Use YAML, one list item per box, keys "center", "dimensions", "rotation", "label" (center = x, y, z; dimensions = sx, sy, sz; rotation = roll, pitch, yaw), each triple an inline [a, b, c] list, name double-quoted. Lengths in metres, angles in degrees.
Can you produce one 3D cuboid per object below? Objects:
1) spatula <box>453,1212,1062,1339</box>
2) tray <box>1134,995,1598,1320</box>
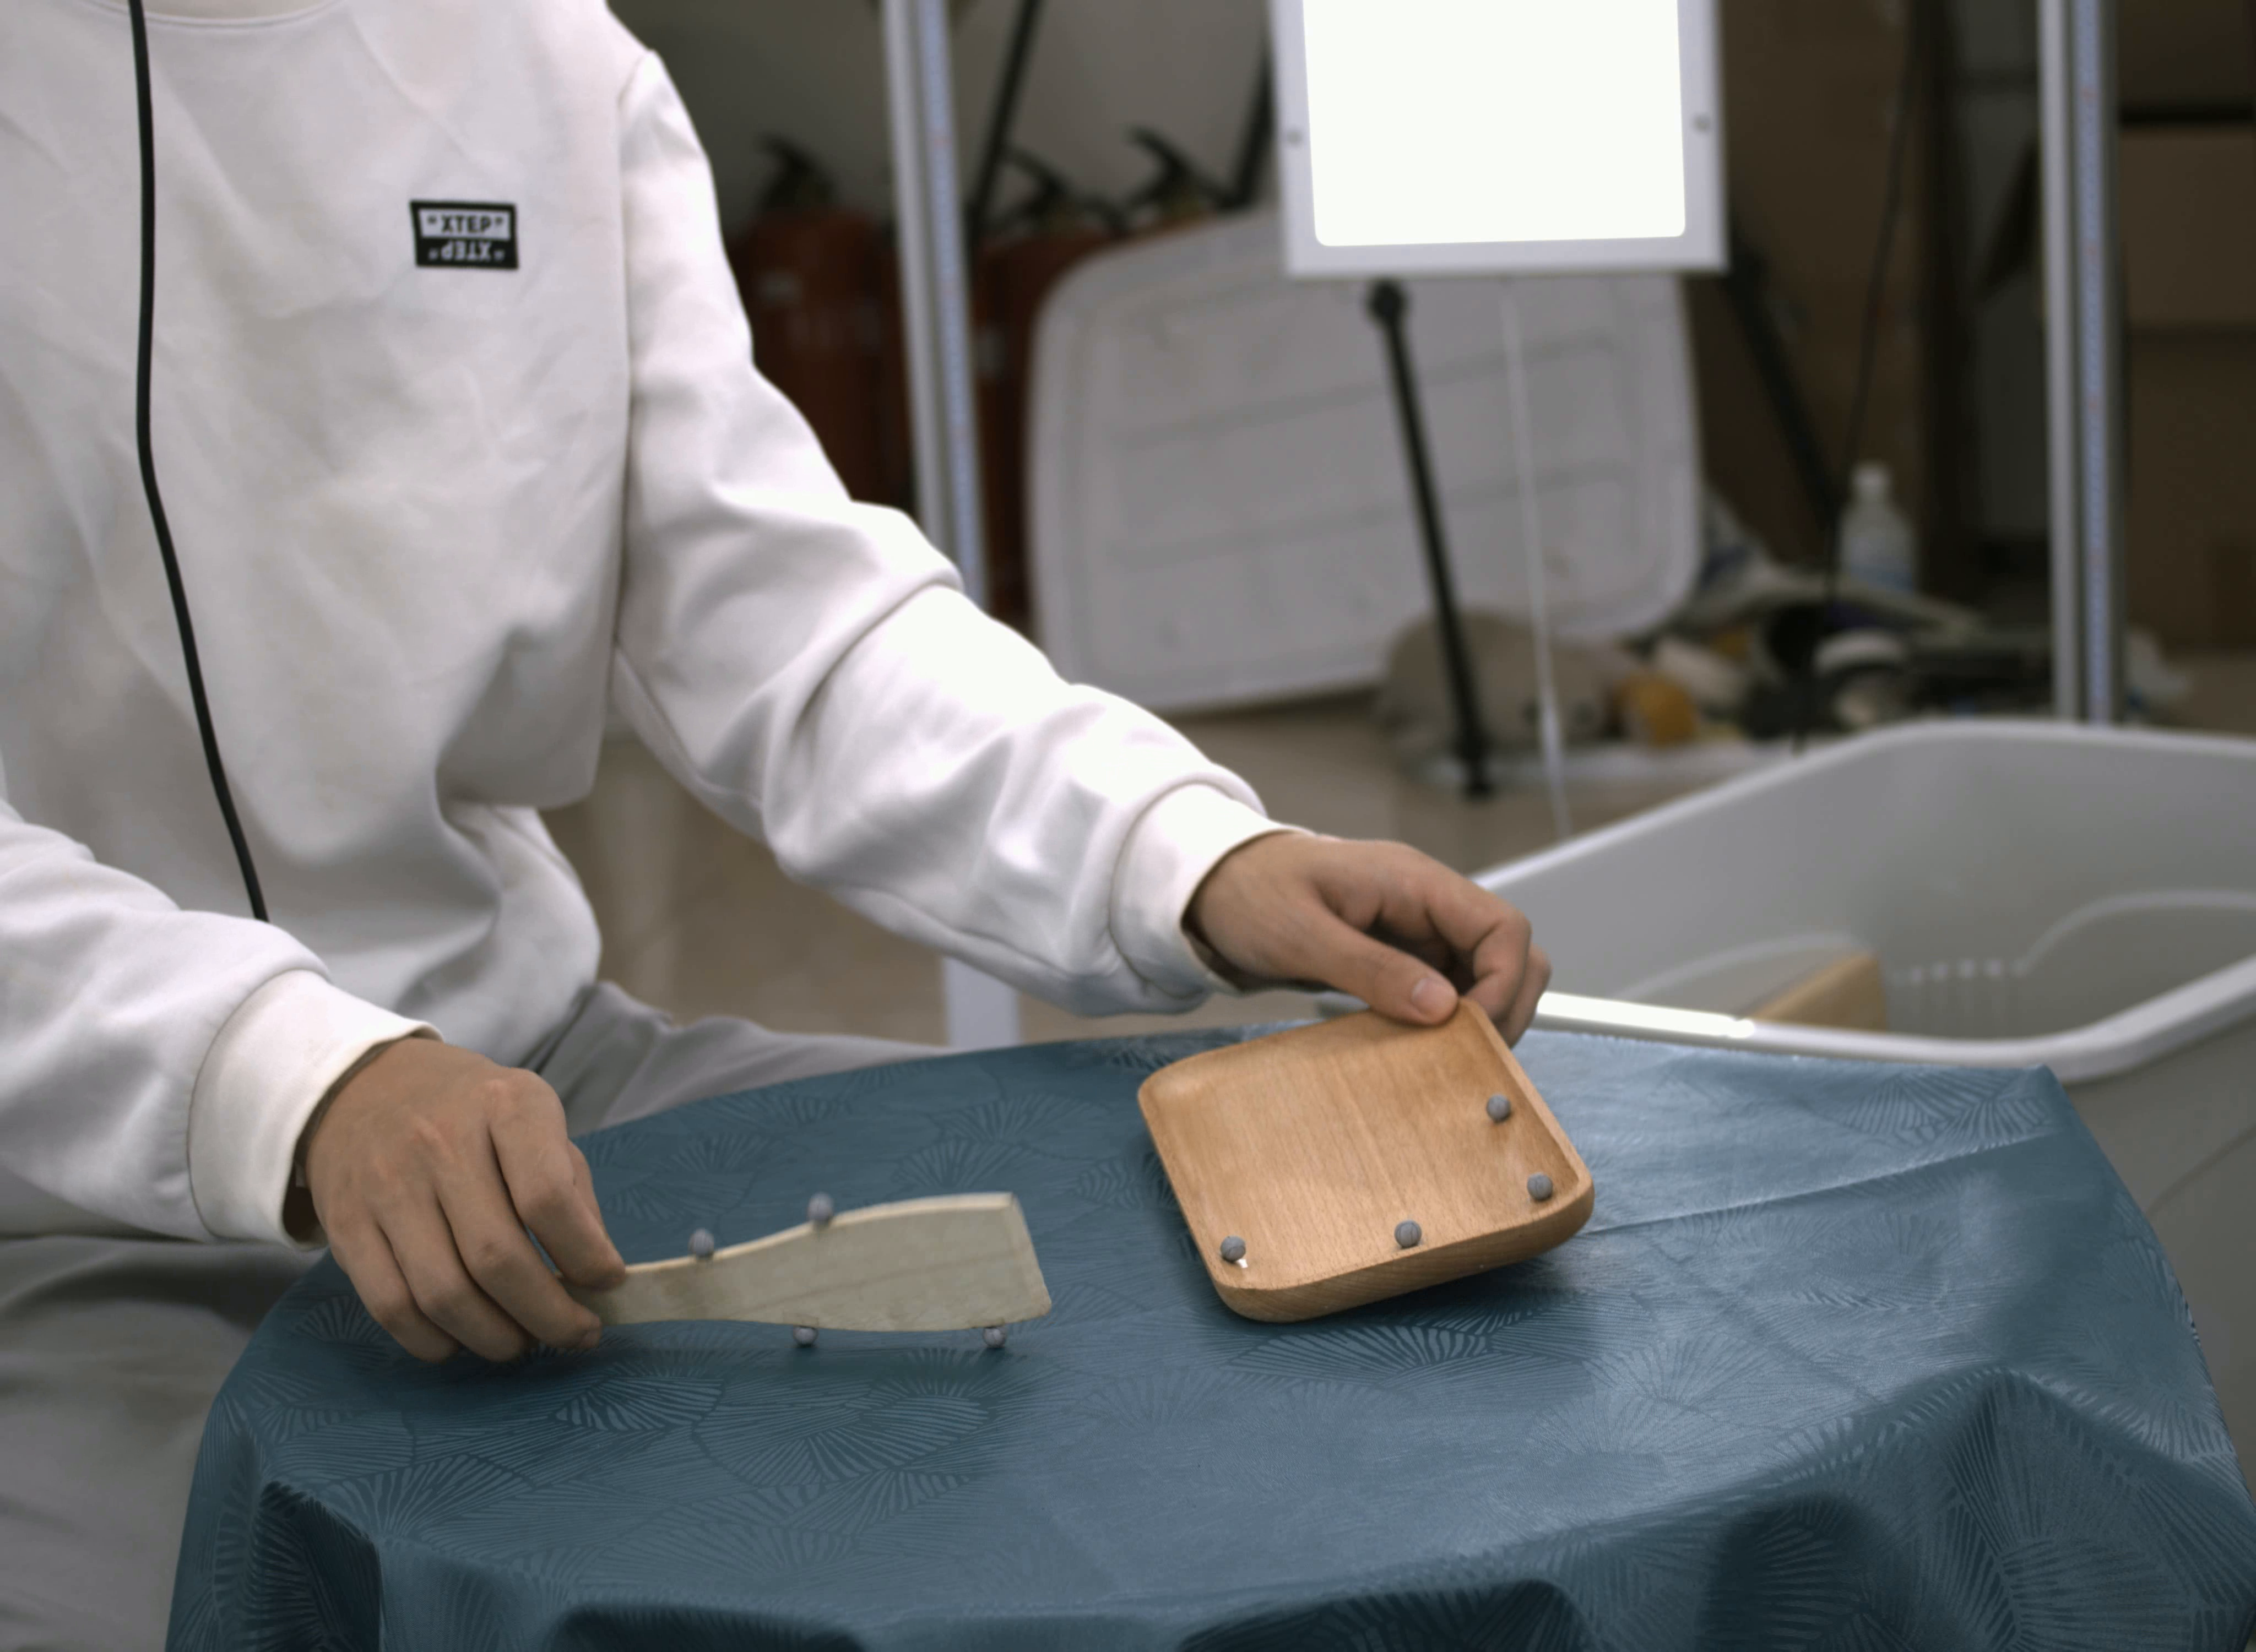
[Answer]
- center: [-0.123, 0.149, 1.764]
  dimensions: [0.211, 0.050, 0.005]
  rotation: [-7, 38, 23]
  label: "spatula"
- center: [0.077, 0.110, 1.858]
  dimensions: [0.130, 0.023, 0.251]
  rotation: [-12, 15, -3]
  label: "tray"
